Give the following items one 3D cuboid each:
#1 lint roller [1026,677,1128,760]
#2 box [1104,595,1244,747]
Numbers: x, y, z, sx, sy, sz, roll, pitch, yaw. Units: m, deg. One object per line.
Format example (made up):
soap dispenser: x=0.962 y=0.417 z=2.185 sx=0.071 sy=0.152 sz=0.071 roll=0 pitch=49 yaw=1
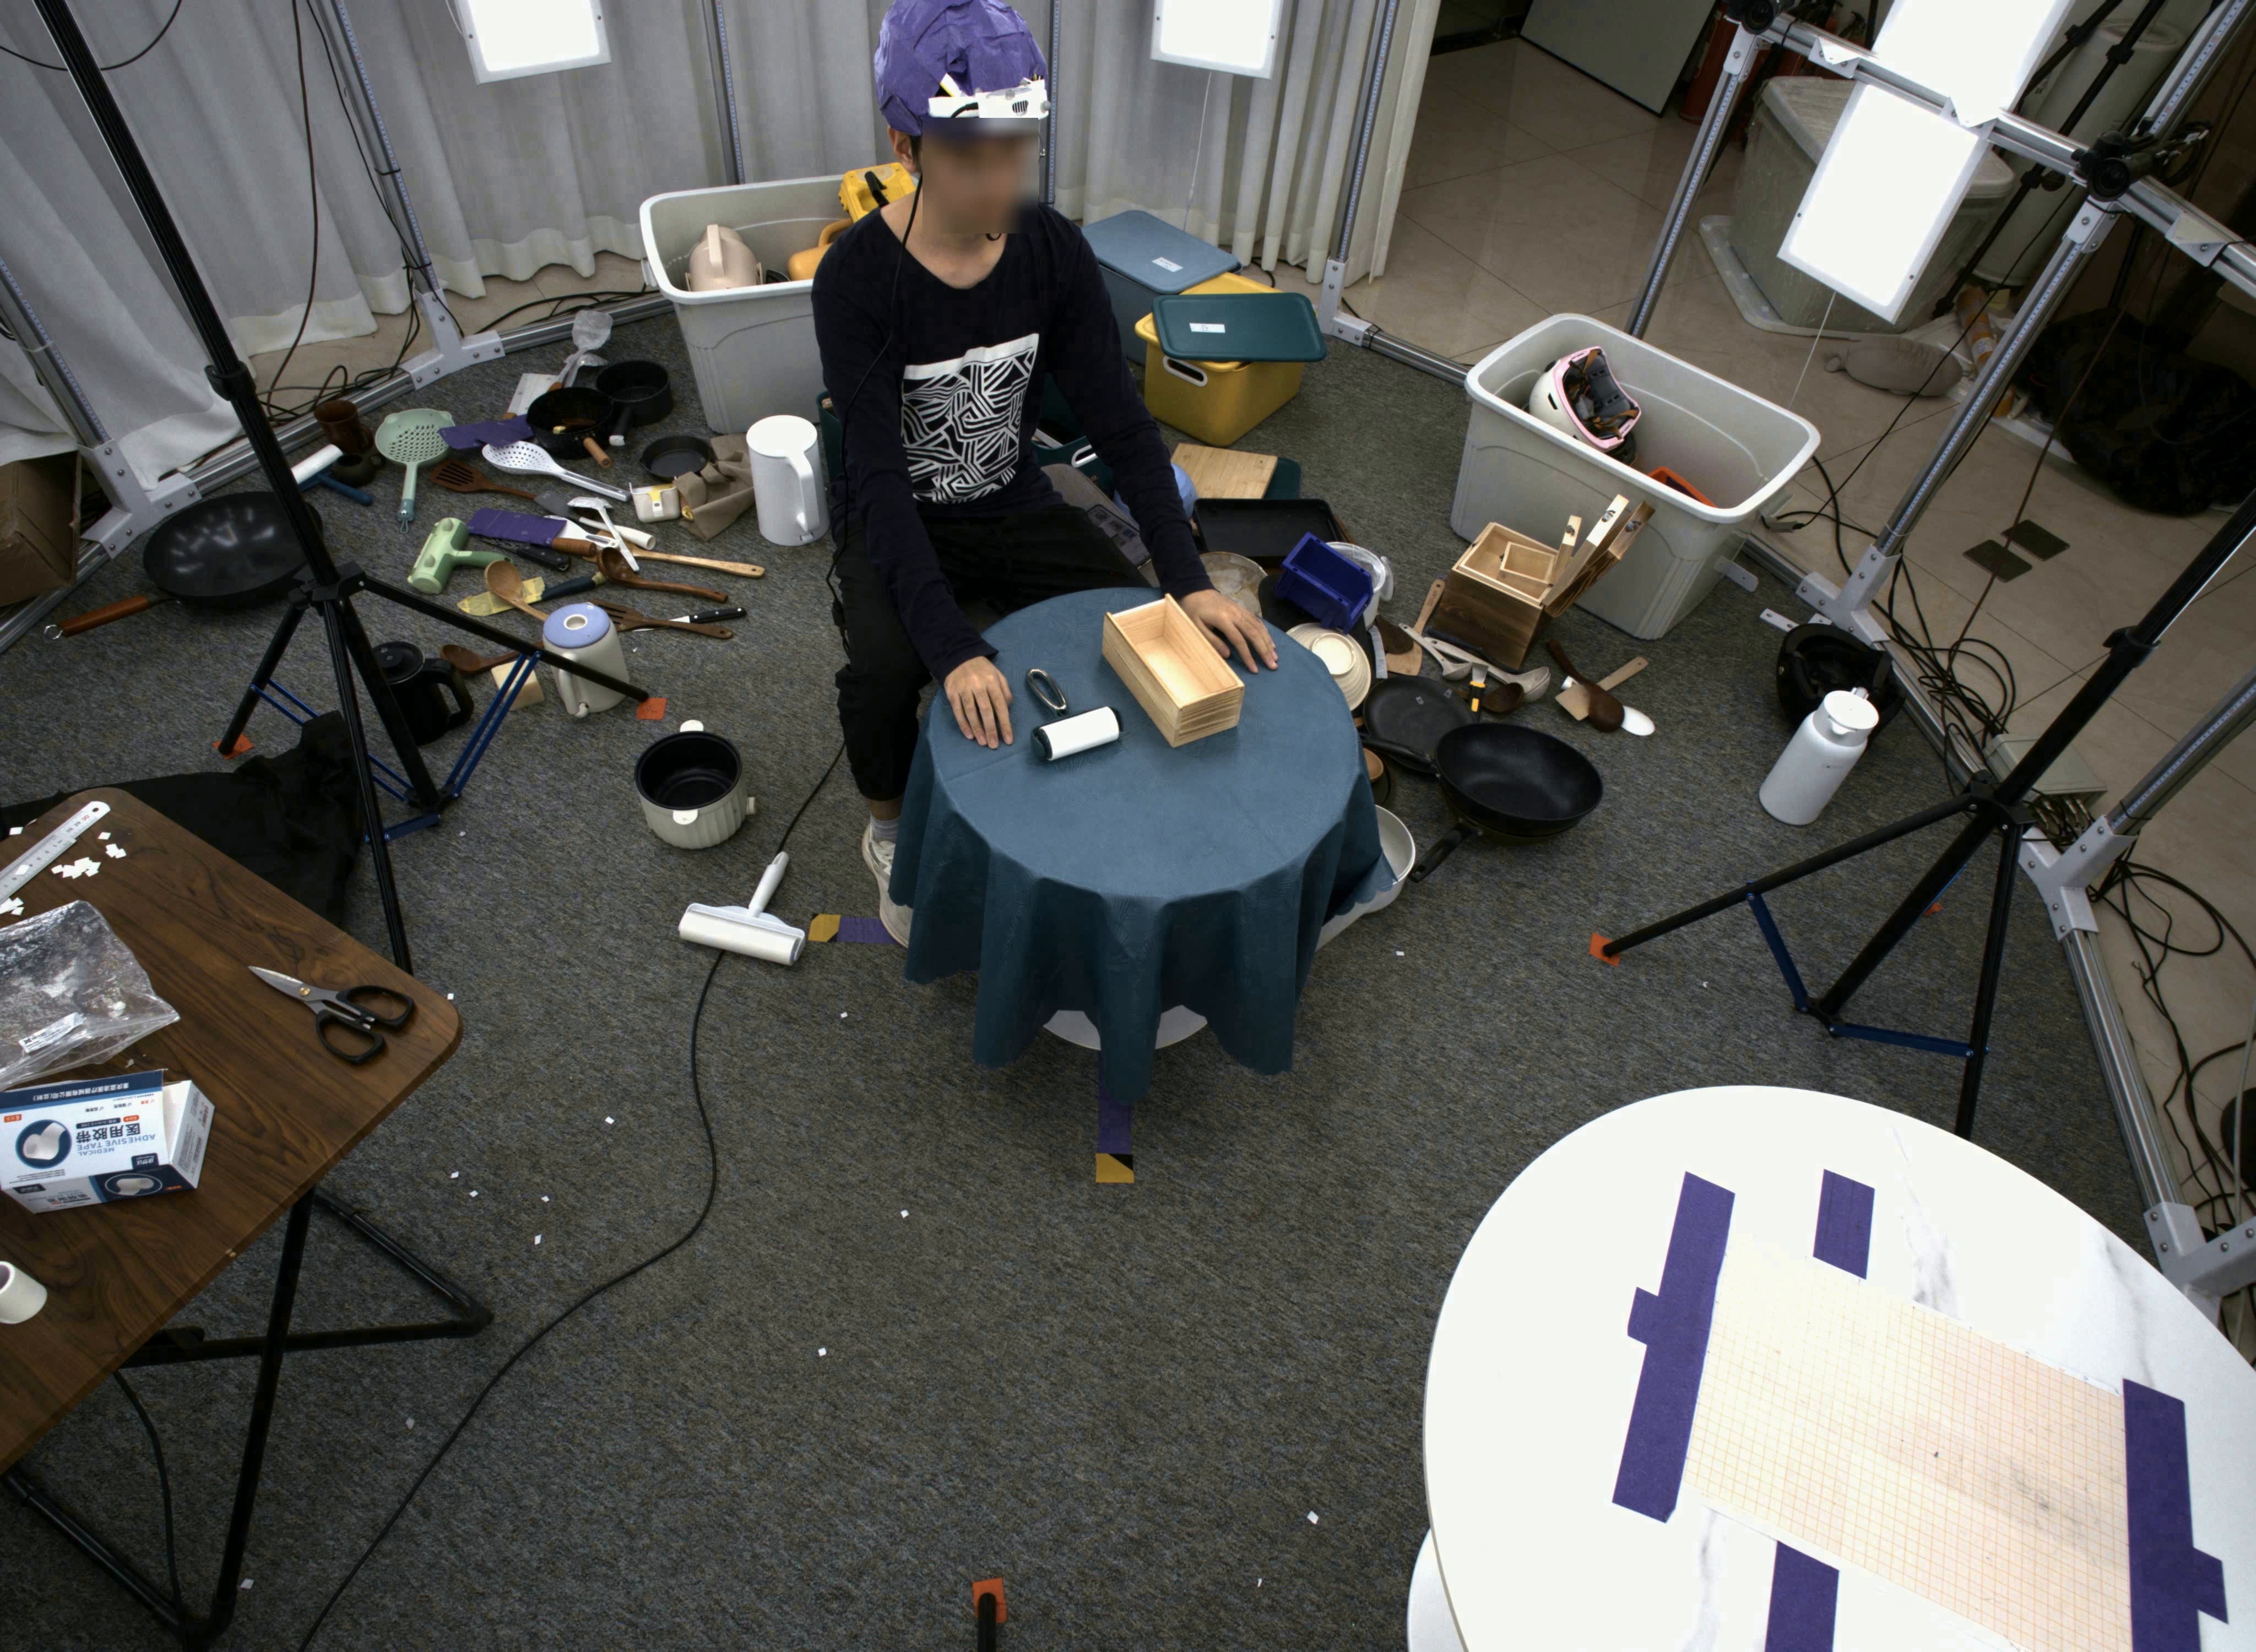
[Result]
lint roller: x=-0.098 y=-0.170 z=1.783 sx=0.134 sy=0.047 sz=0.184 roll=-19 pitch=49 yaw=-19
box: x=0.061 y=-0.221 z=1.812 sx=0.108 sy=0.078 sz=0.216 roll=-21 pitch=52 yaw=-20
